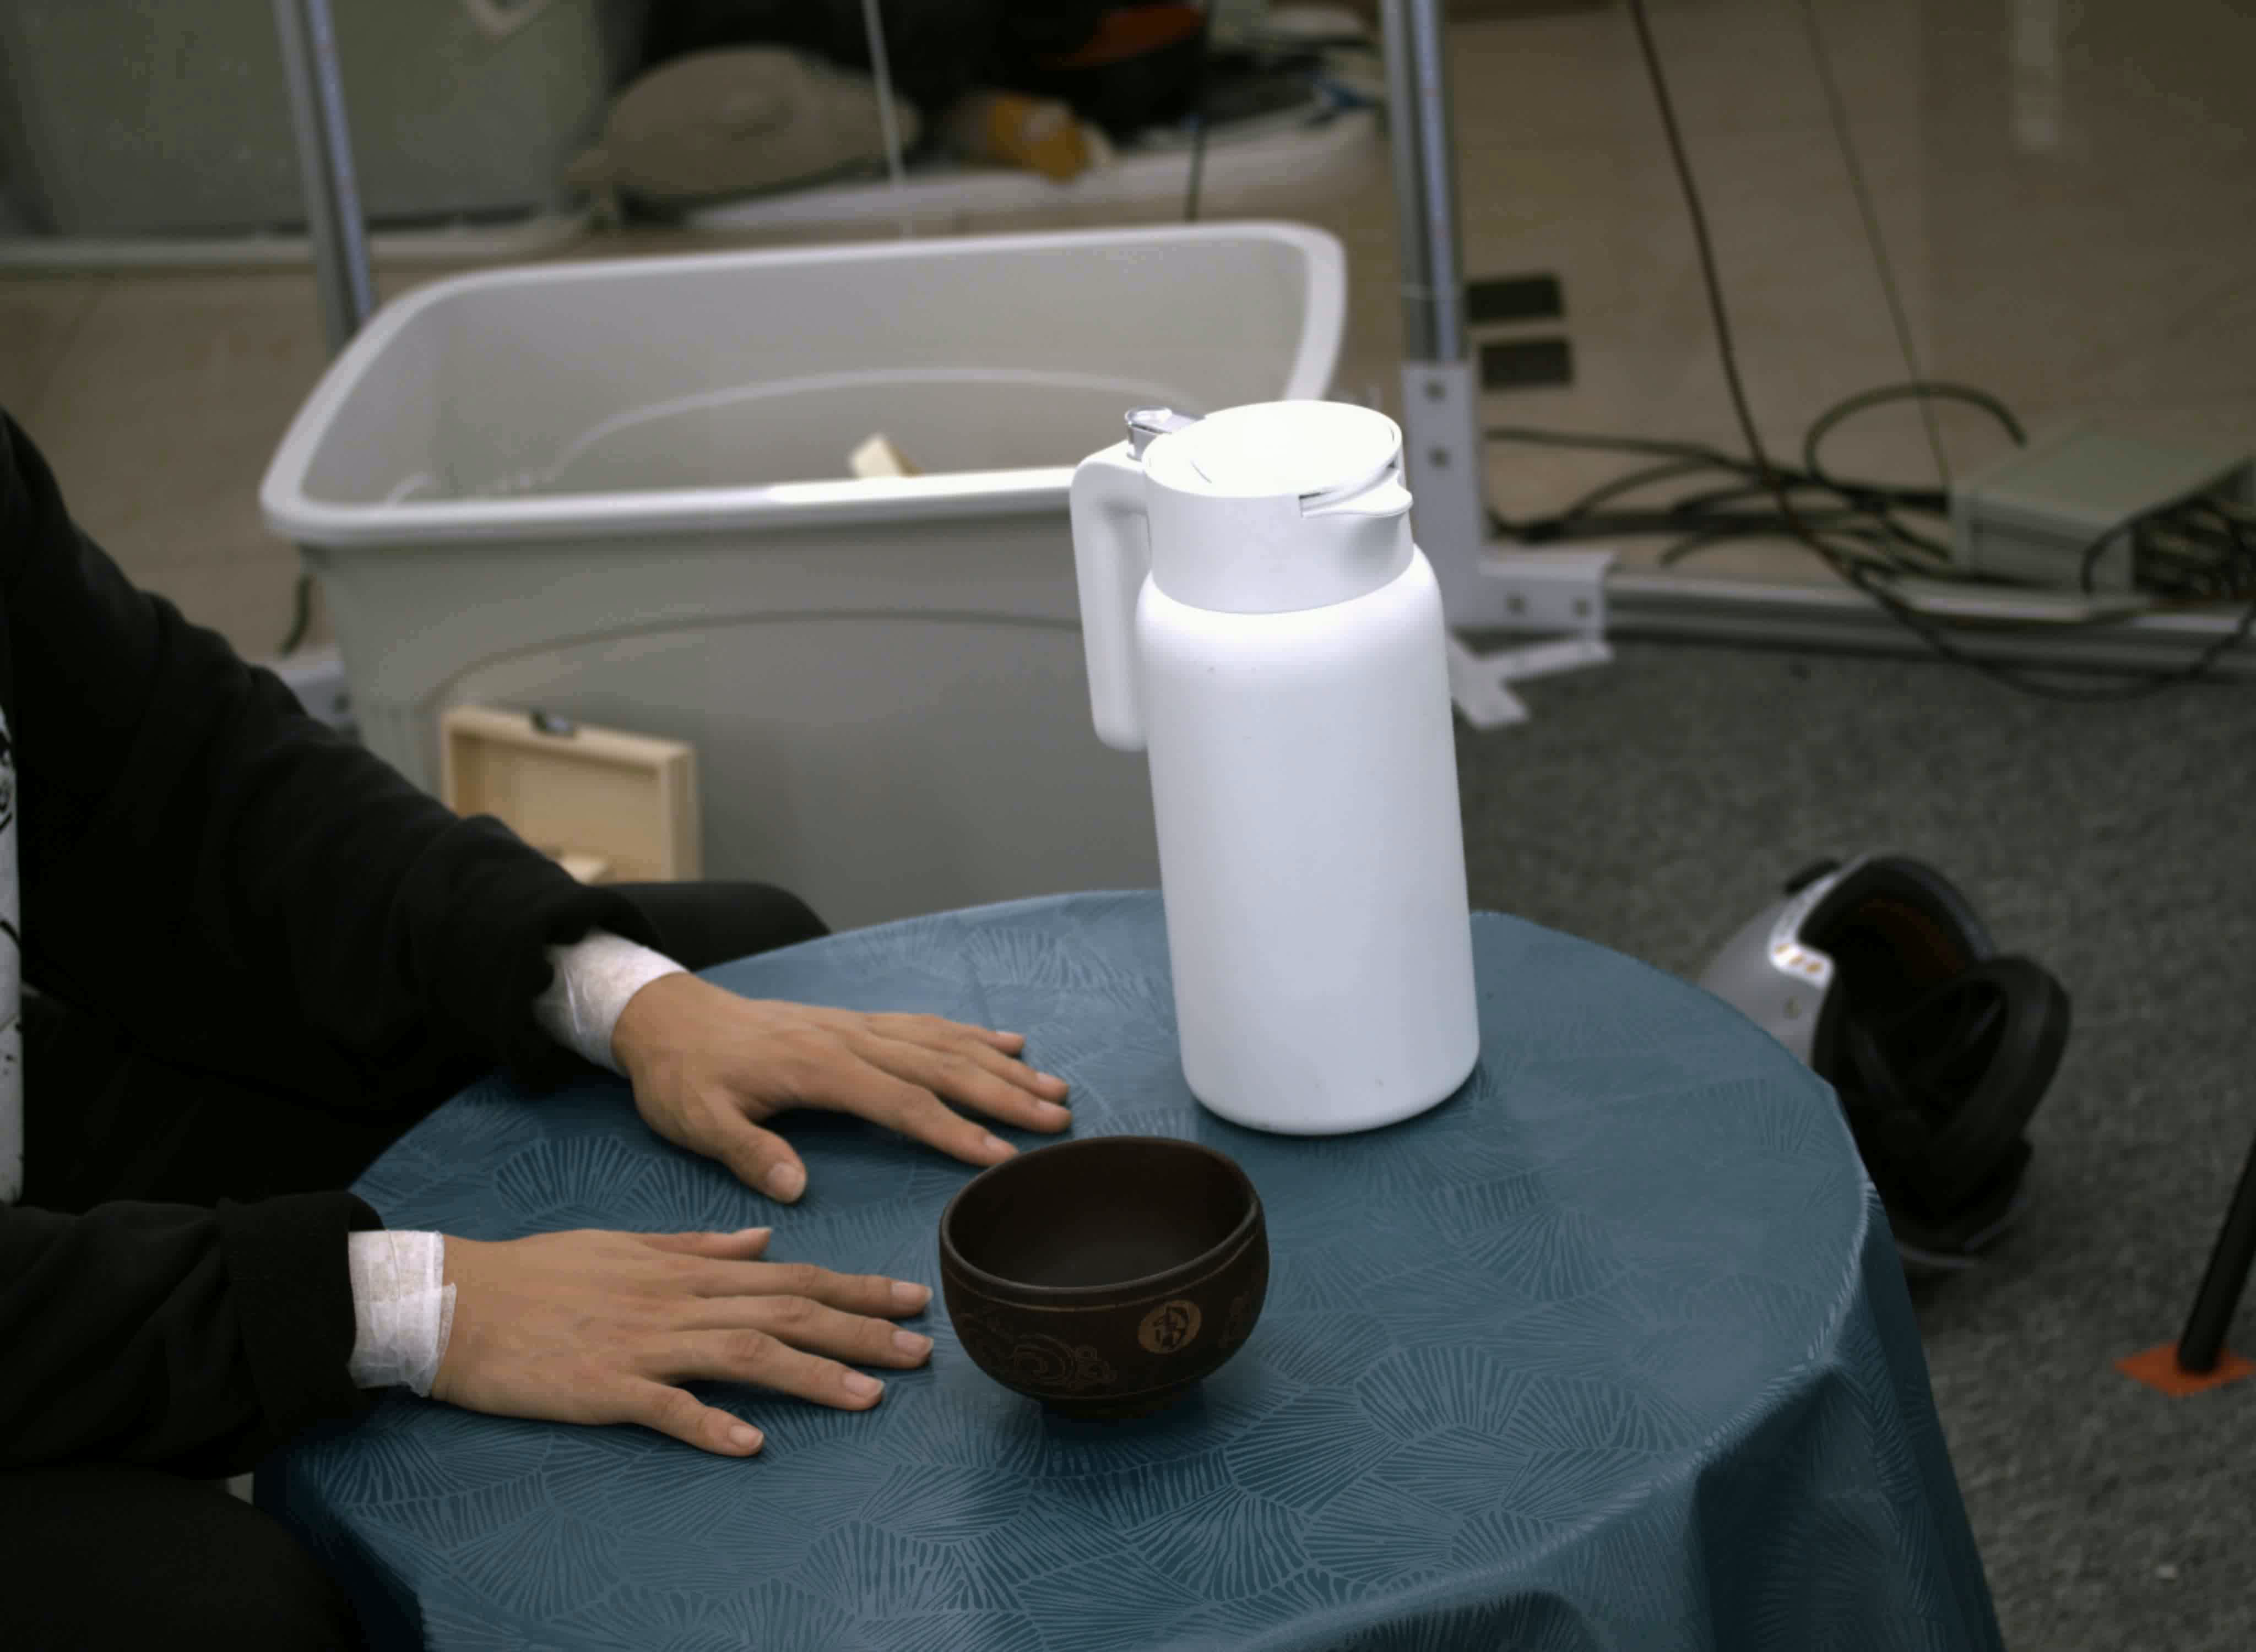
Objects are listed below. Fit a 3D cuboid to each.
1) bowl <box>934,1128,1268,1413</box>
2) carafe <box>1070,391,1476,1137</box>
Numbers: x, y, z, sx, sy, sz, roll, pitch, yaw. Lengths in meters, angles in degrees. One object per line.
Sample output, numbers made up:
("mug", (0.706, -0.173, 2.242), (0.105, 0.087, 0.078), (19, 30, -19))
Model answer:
("bowl", (-0.008, 0.164, 2.009), (0.118, 0.071, 0.116), (-6, 25, 3))
("carafe", (0.053, -0.026, 2.169), (0.171, 0.273, 0.123), (19, 37, 42))
